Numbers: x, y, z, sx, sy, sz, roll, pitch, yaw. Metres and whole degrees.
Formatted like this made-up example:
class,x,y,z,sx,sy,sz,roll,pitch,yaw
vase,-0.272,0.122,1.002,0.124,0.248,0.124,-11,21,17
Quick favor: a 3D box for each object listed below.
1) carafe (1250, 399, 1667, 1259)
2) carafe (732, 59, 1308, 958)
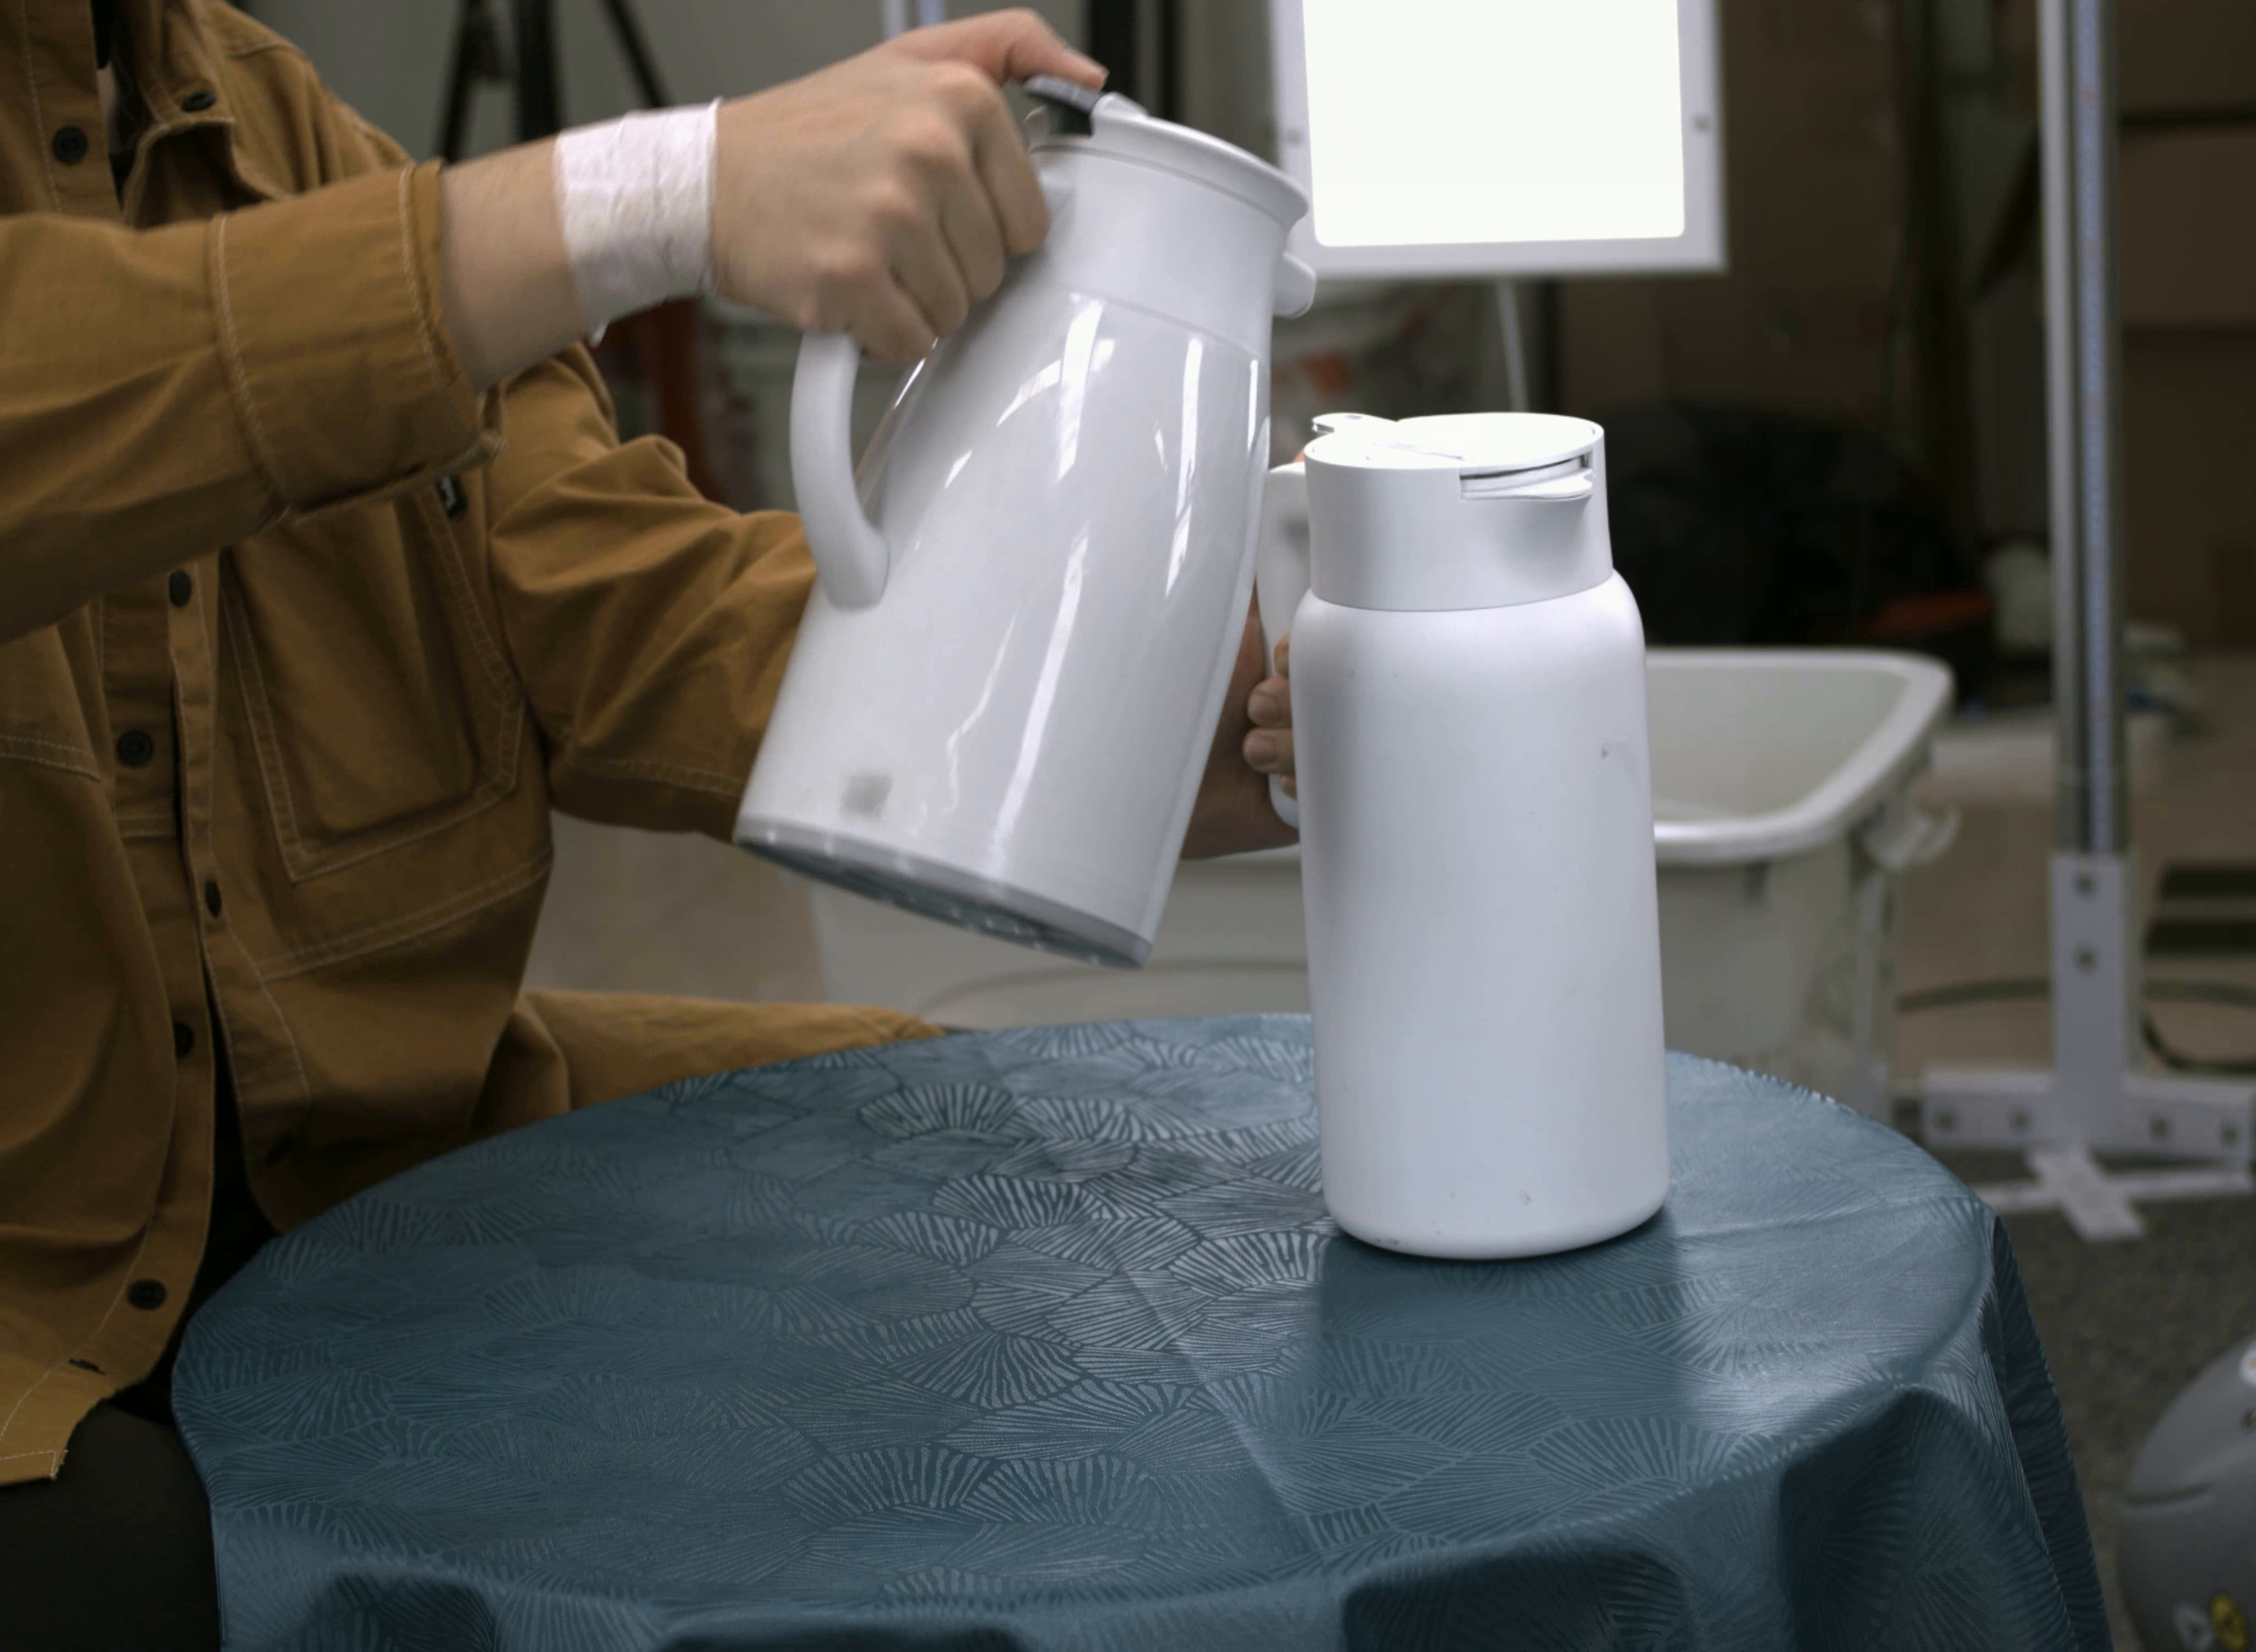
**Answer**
class,x,y,z,sx,sy,sz,roll,pitch,yaw
carafe,0.104,-0.002,1.822,0.121,0.270,0.176,-15,17,-29
carafe,-0.035,-0.102,1.660,0.164,0.249,0.135,21,-7,-37
